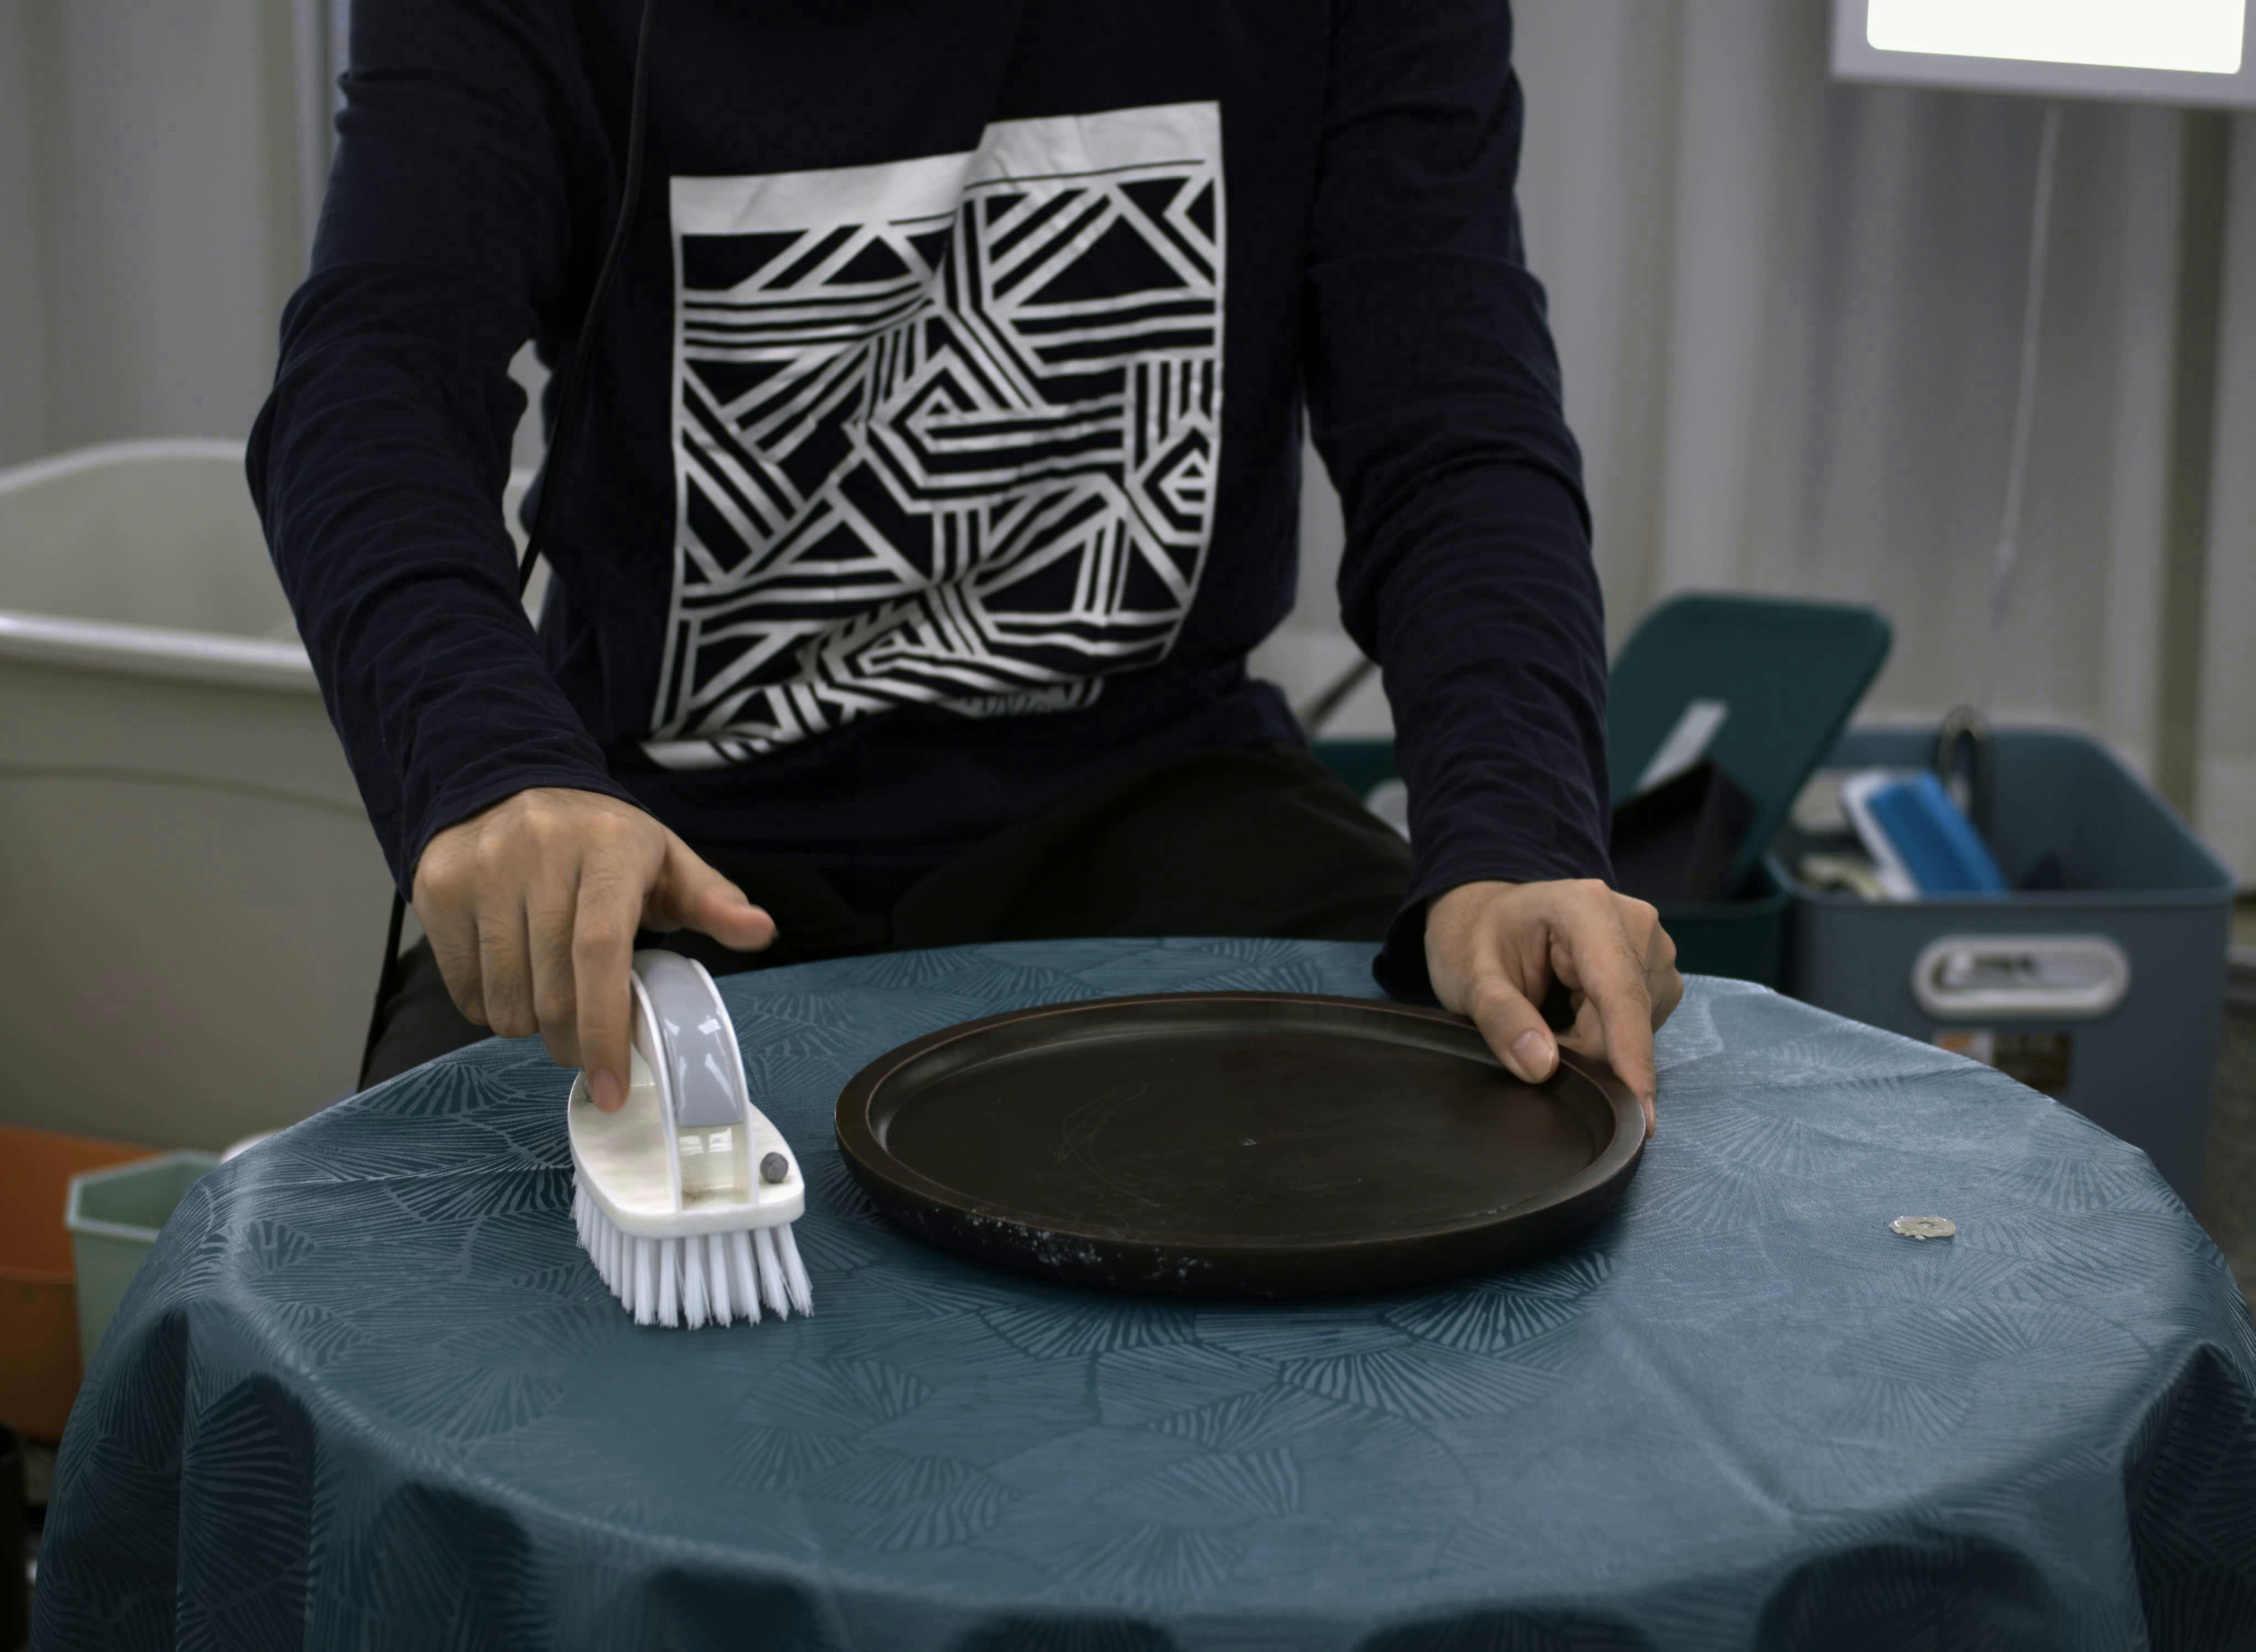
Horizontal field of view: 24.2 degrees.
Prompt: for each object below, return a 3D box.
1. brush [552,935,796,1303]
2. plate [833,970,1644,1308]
[{"bbox_3d":[-0.142,0.077,1.572,0.061,0.095,0.174,-1,13,-17],"label":"brush"},{"bbox_3d":[0.034,0.098,1.638,0.254,0.029,0.253,1,17,0],"label":"plate"}]
